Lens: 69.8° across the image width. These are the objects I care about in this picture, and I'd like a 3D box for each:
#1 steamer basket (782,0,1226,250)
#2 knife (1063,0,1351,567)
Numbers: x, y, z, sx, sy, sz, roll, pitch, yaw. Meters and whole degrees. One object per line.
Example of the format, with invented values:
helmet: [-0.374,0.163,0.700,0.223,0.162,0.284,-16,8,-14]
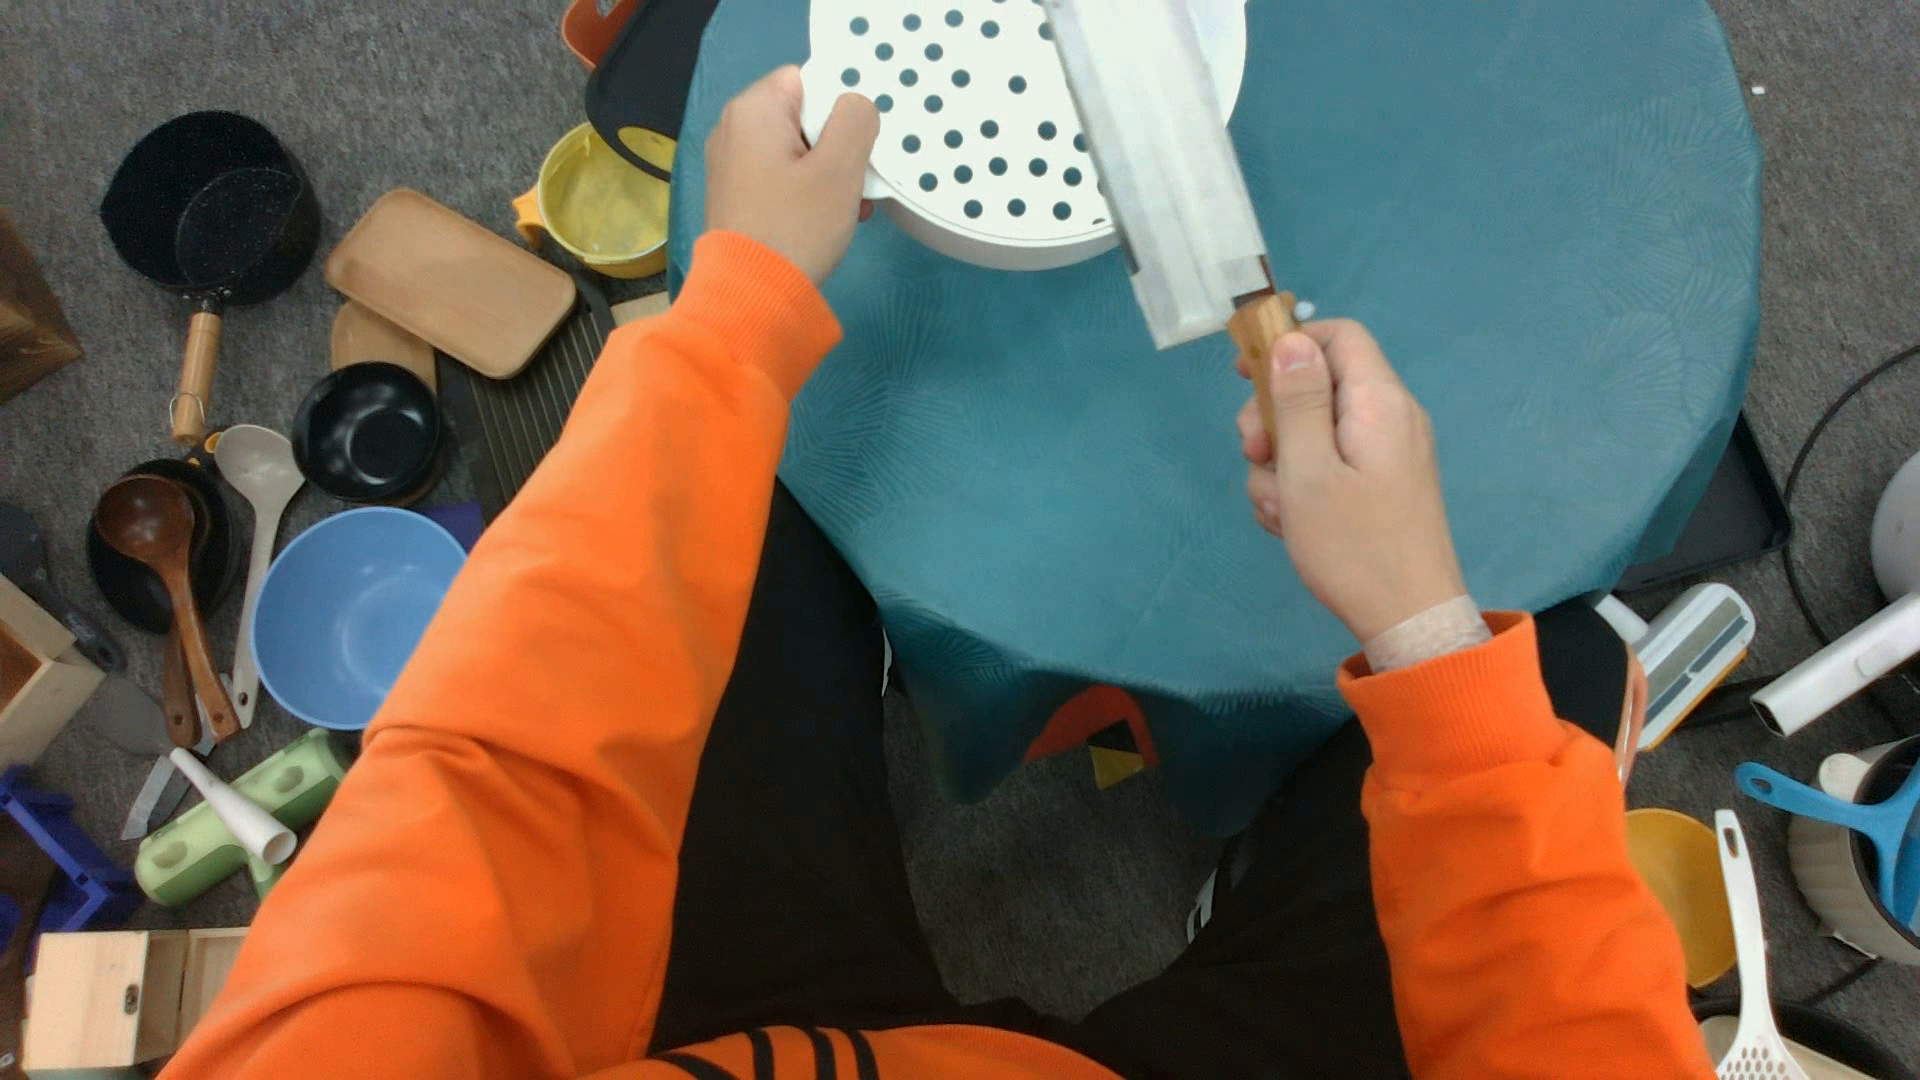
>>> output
steamer basket: [0.023,-0.241,0.667,0.231,0.069,0.202,-31,87,-10]
knife: [0.097,-0.133,0.589,0.021,0.092,0.305,-21,97,-26]
